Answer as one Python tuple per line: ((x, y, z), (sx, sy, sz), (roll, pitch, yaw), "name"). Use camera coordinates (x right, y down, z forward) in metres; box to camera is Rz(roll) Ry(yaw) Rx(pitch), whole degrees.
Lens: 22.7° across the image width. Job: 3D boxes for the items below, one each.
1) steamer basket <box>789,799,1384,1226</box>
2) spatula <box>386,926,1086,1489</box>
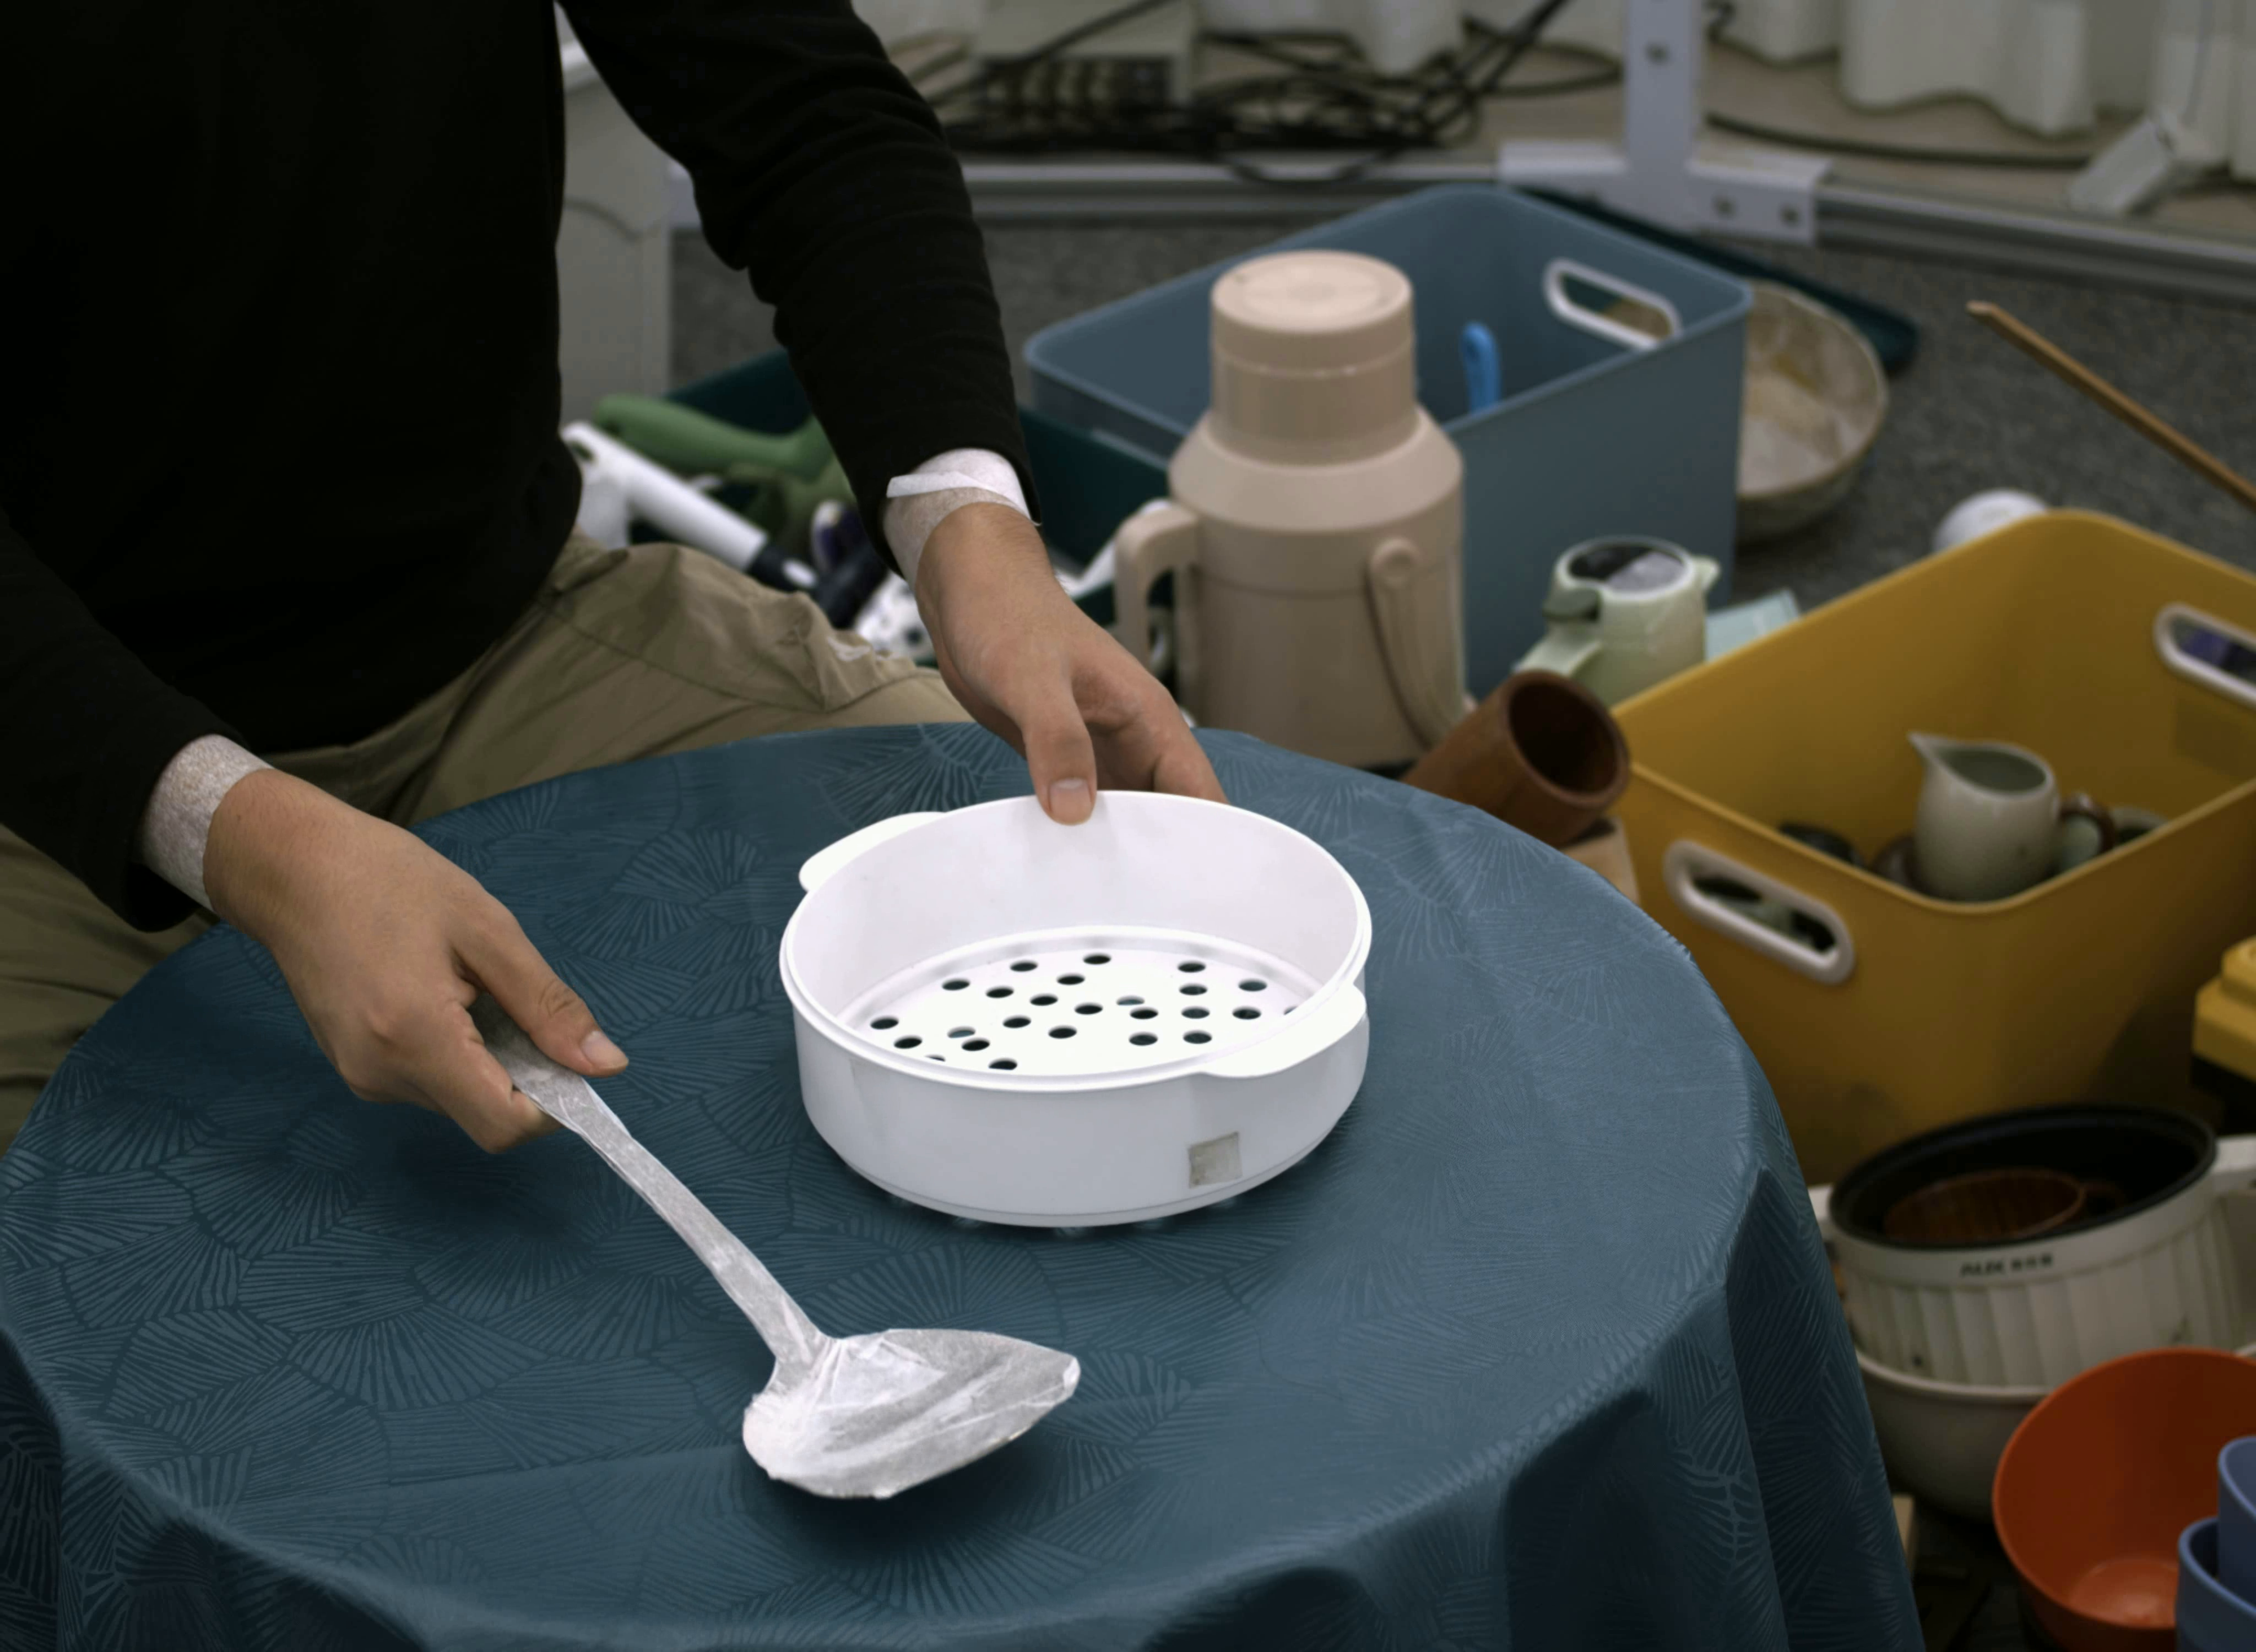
((-0.013, 0.063, 1.900), (0.204, 0.068, 0.230), (-26, 34, -38), "steamer basket")
((-0.149, 0.111, 1.804), (0.099, 0.044, 0.367), (-25, 44, -28), "spatula")
